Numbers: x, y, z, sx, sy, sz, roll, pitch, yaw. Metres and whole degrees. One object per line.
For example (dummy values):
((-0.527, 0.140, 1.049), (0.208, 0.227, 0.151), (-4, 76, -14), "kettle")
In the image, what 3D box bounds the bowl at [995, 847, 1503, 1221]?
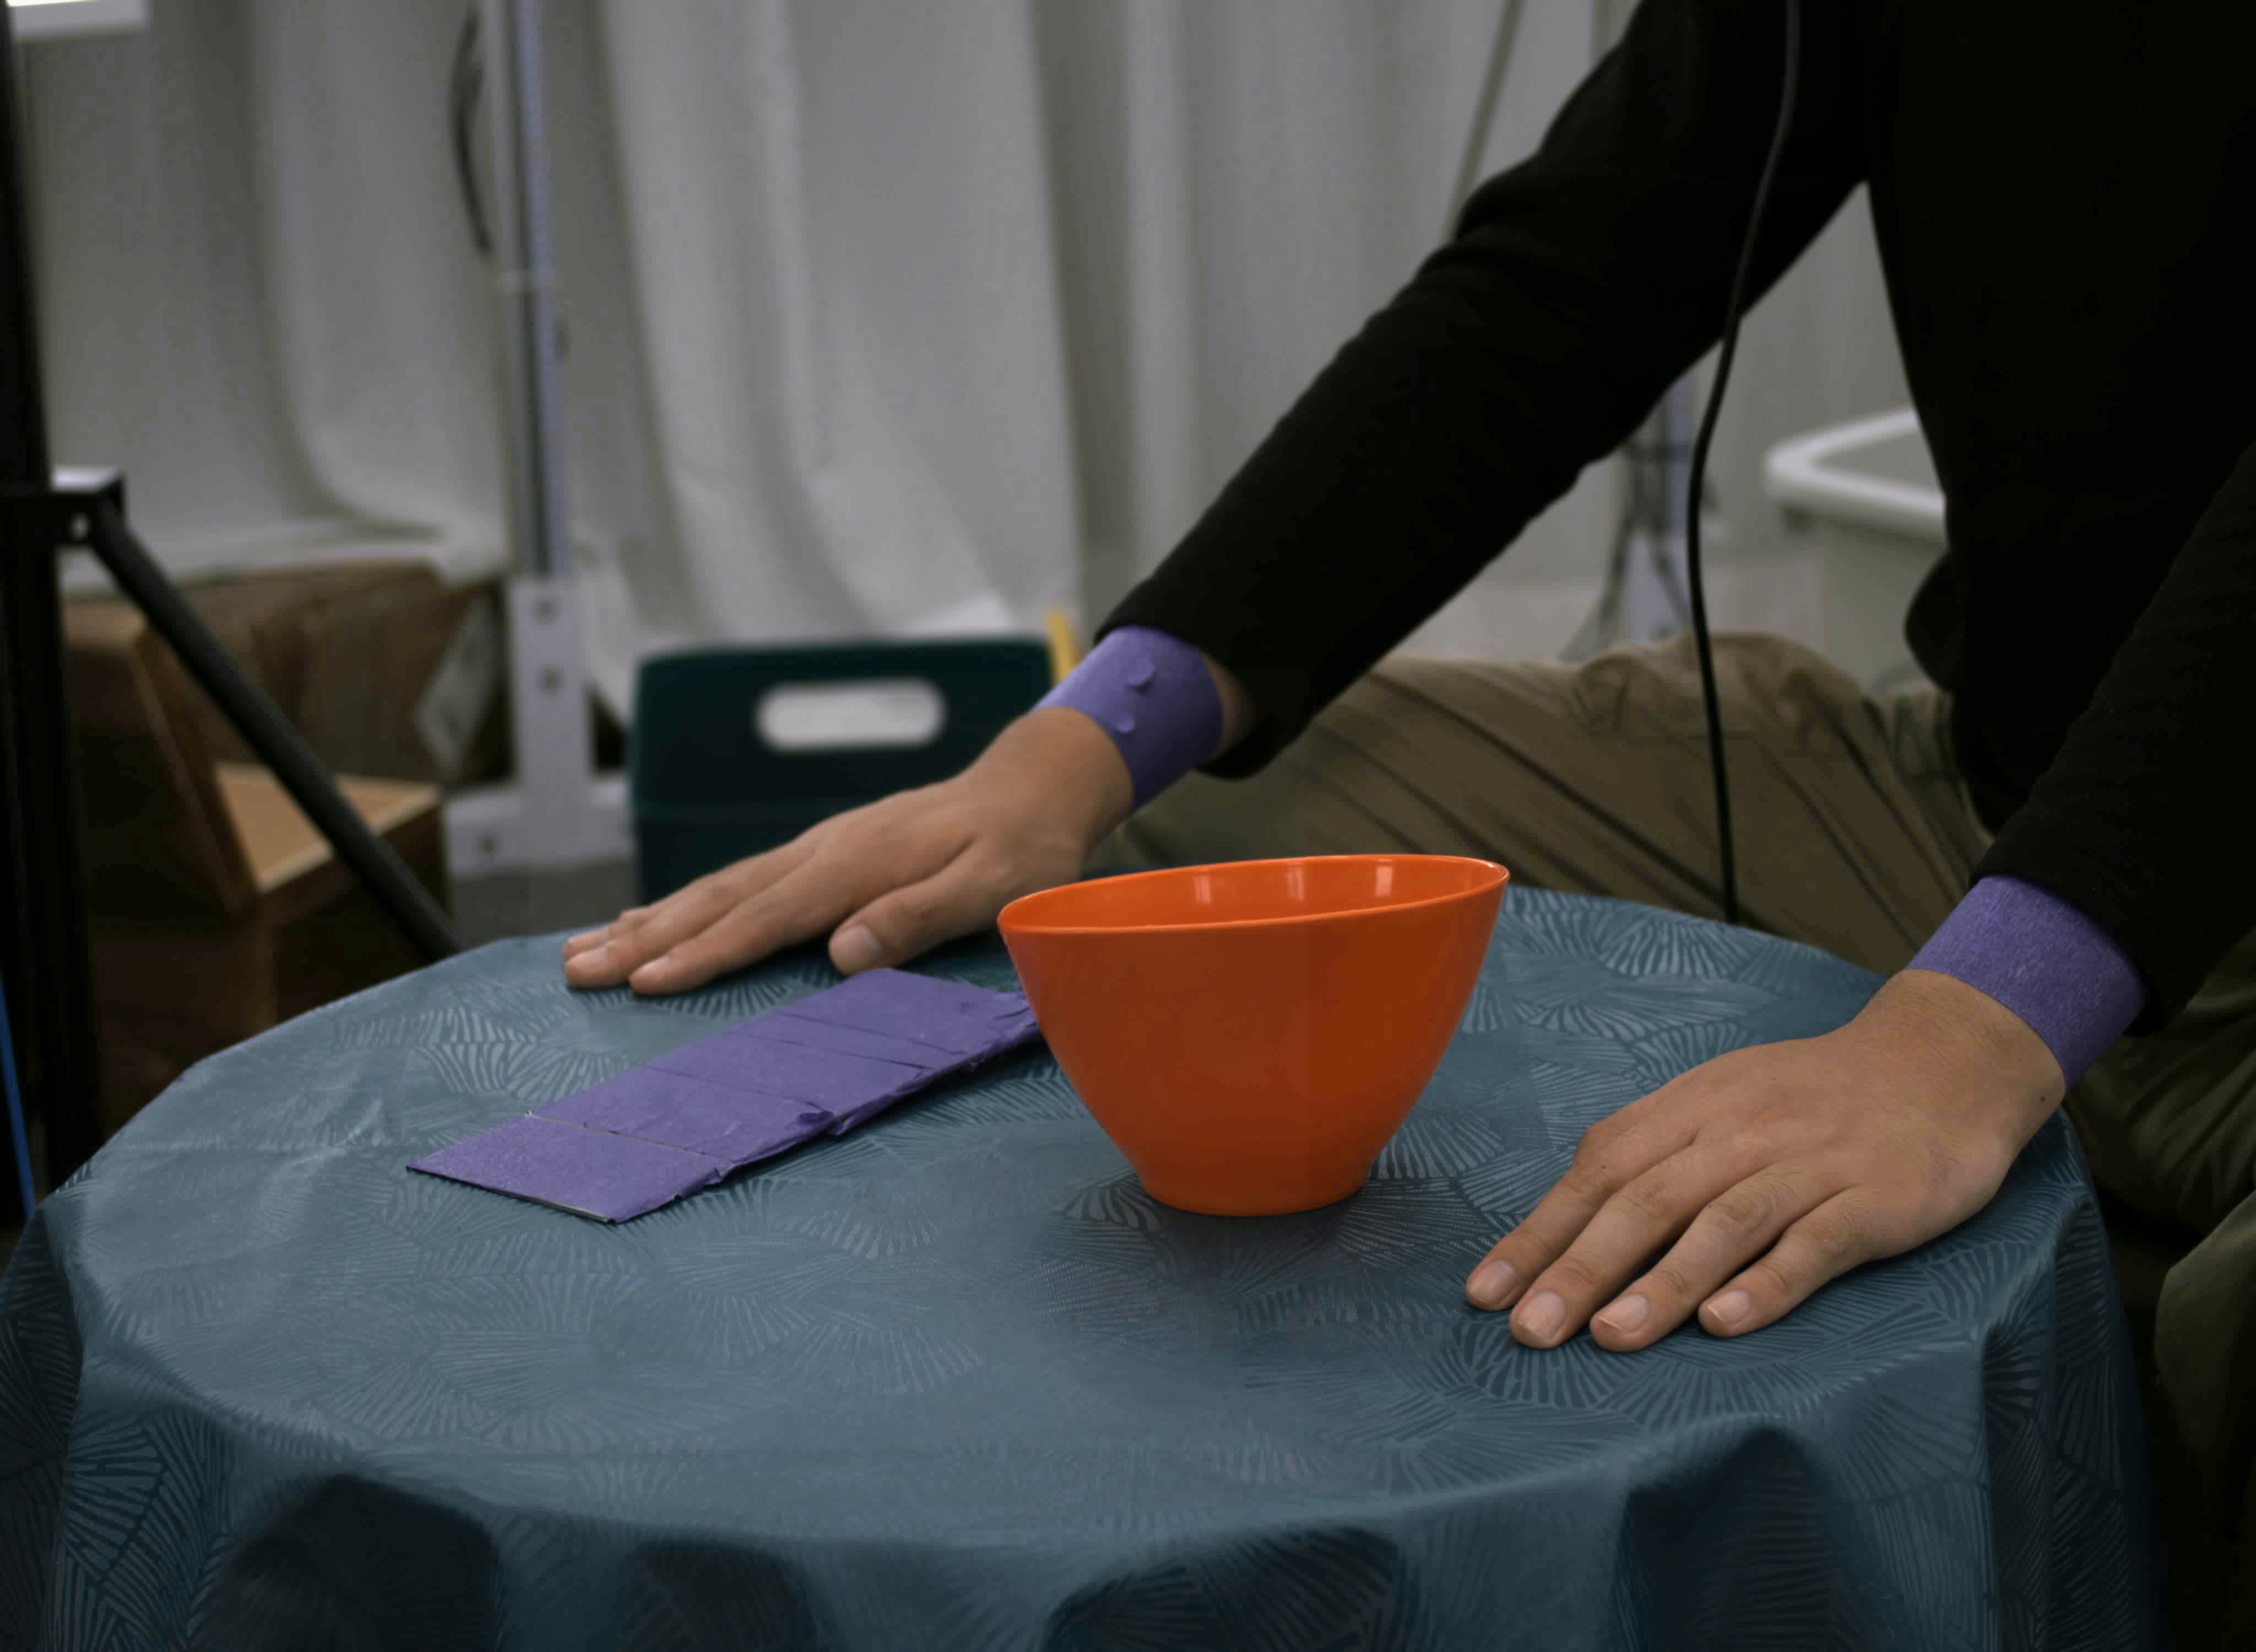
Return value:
((0.037, 0.058, 1.537), (0.147, 0.104, 0.149), (-5, 15, 0), "bowl")

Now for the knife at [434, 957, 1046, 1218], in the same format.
((-0.081, 0.063, 1.678), (0.106, 0.032, 0.308), (12, 22, 40), "knife")
